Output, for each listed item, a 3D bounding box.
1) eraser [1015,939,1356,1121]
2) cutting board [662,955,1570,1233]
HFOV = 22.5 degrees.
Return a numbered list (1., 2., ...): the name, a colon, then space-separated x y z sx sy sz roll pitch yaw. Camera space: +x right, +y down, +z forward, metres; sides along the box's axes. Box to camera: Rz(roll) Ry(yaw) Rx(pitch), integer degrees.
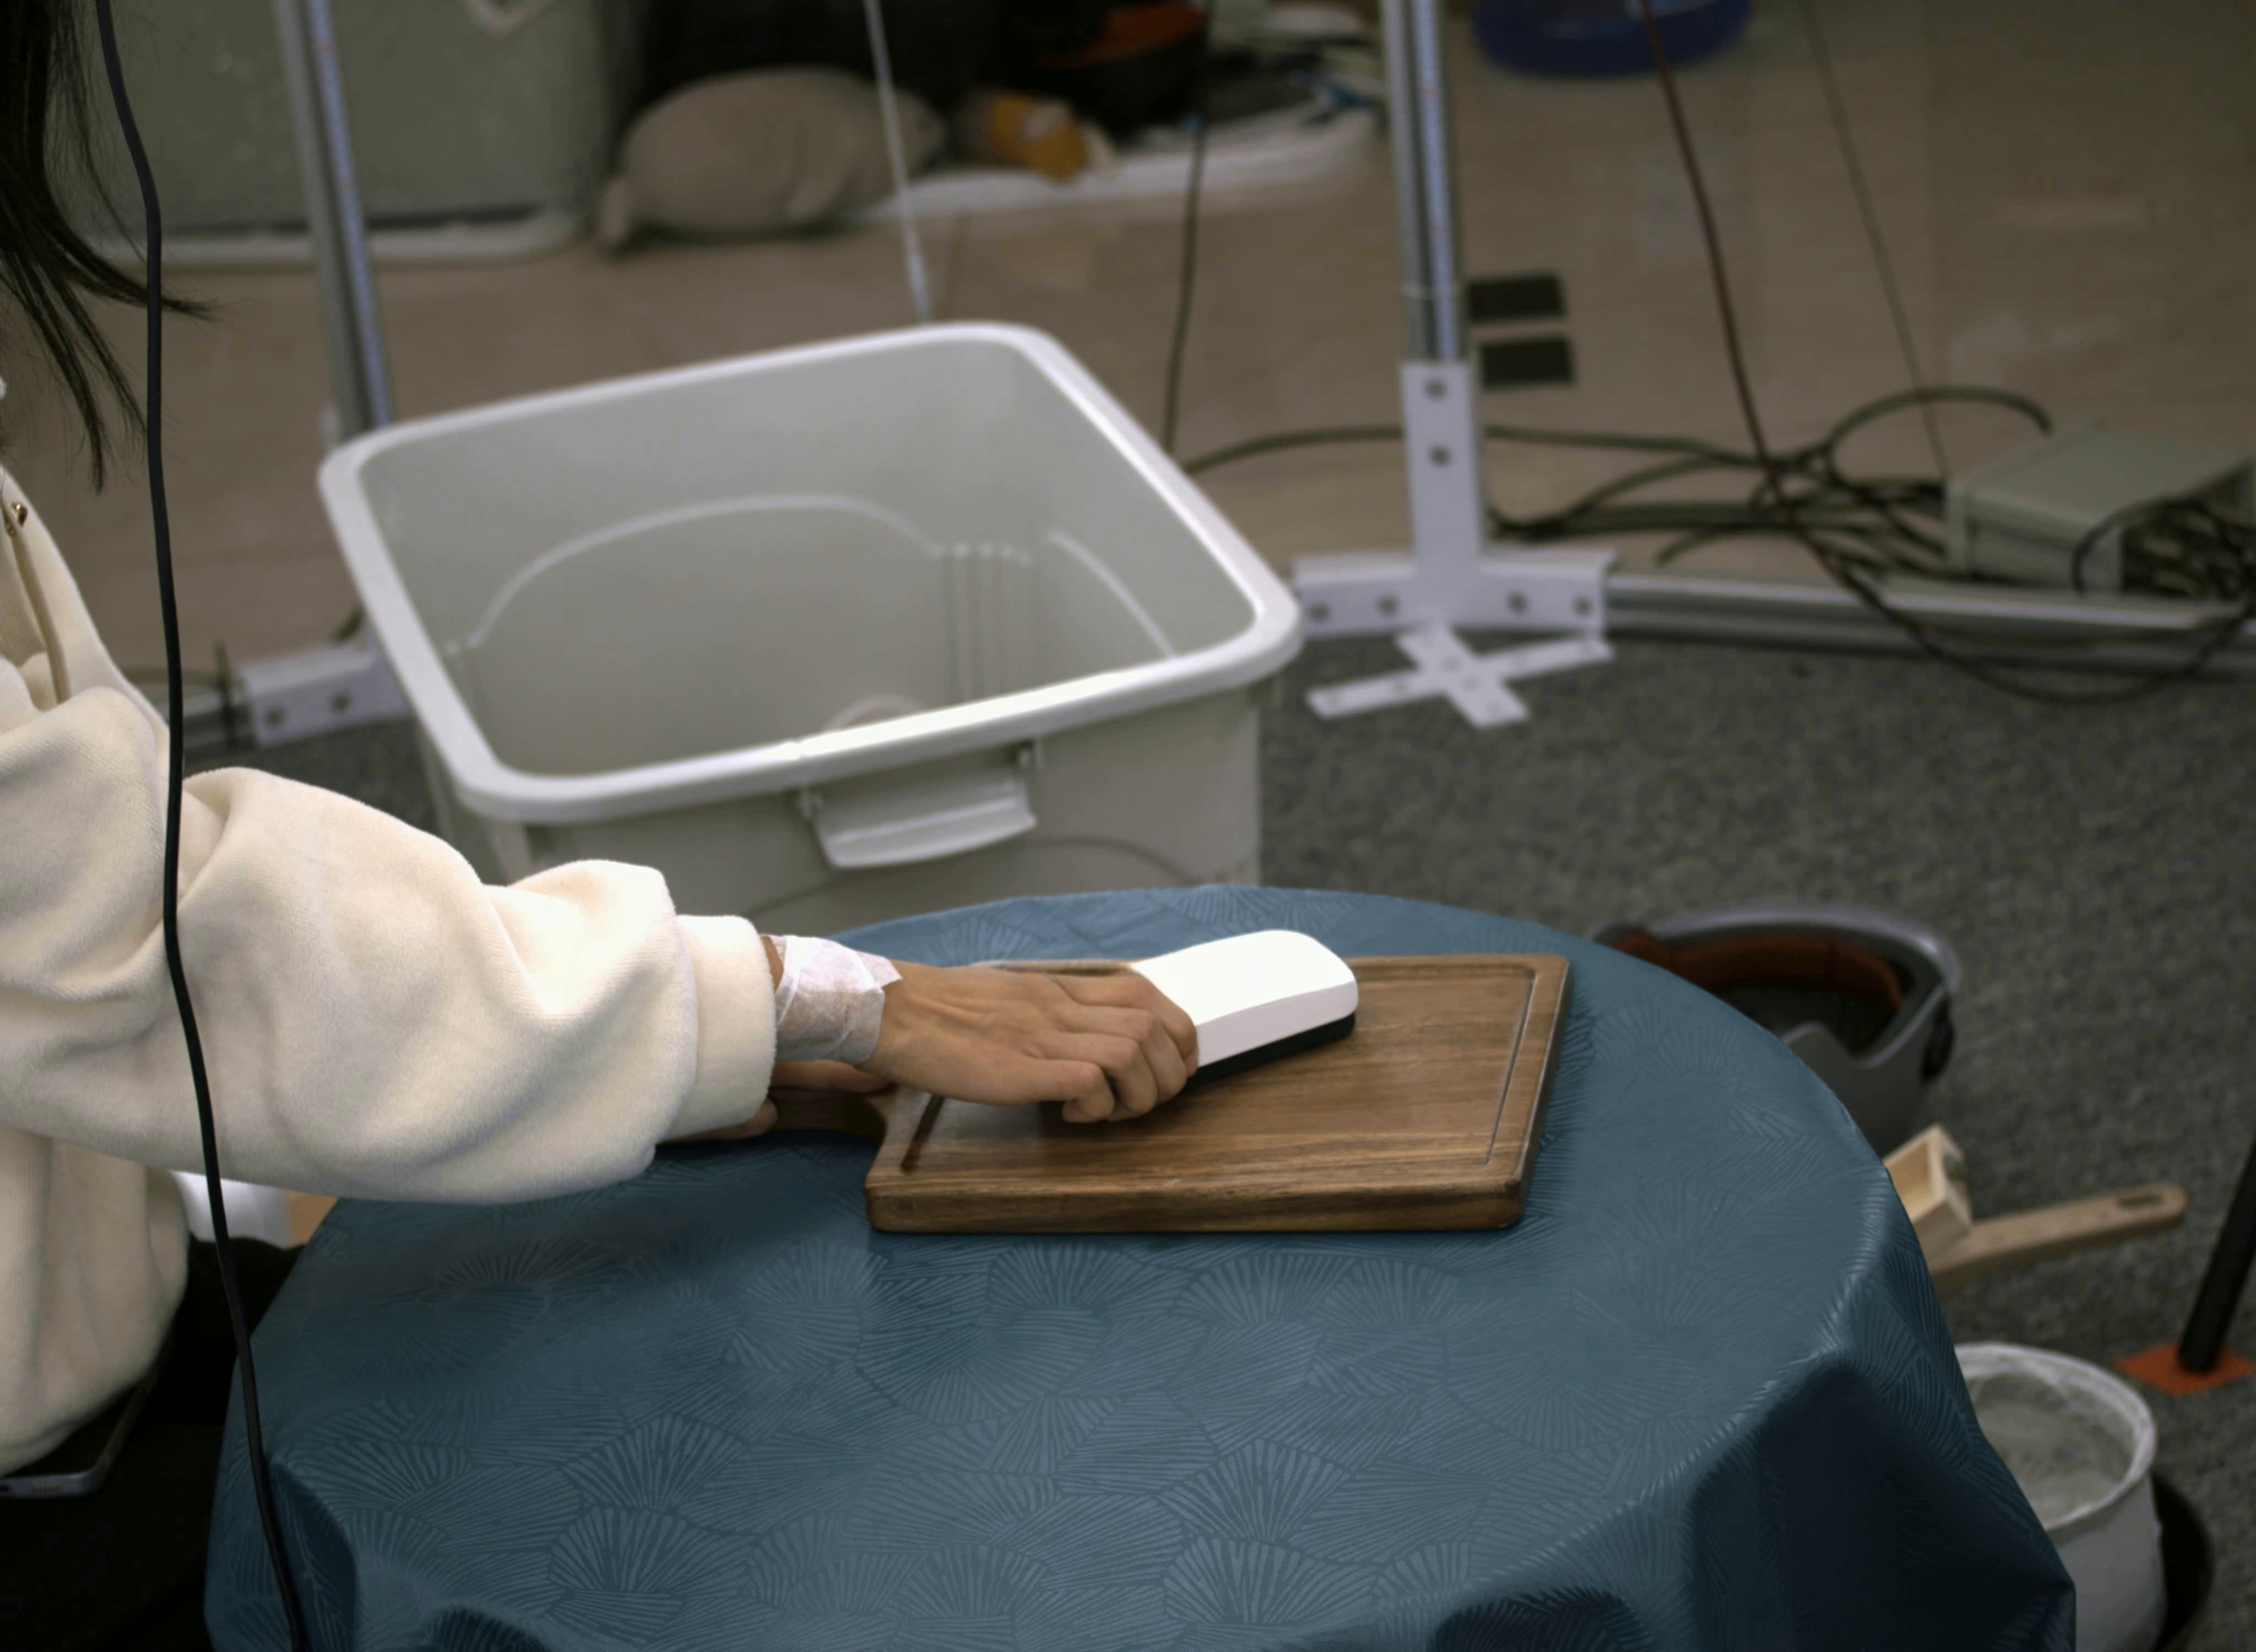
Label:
1. eraser: 0.022 0.076 2.206 0.131 0.035 0.062 -16 27 -21
2. cutting board: -0.010 0.103 2.203 0.351 0.023 0.198 -1 25 11
